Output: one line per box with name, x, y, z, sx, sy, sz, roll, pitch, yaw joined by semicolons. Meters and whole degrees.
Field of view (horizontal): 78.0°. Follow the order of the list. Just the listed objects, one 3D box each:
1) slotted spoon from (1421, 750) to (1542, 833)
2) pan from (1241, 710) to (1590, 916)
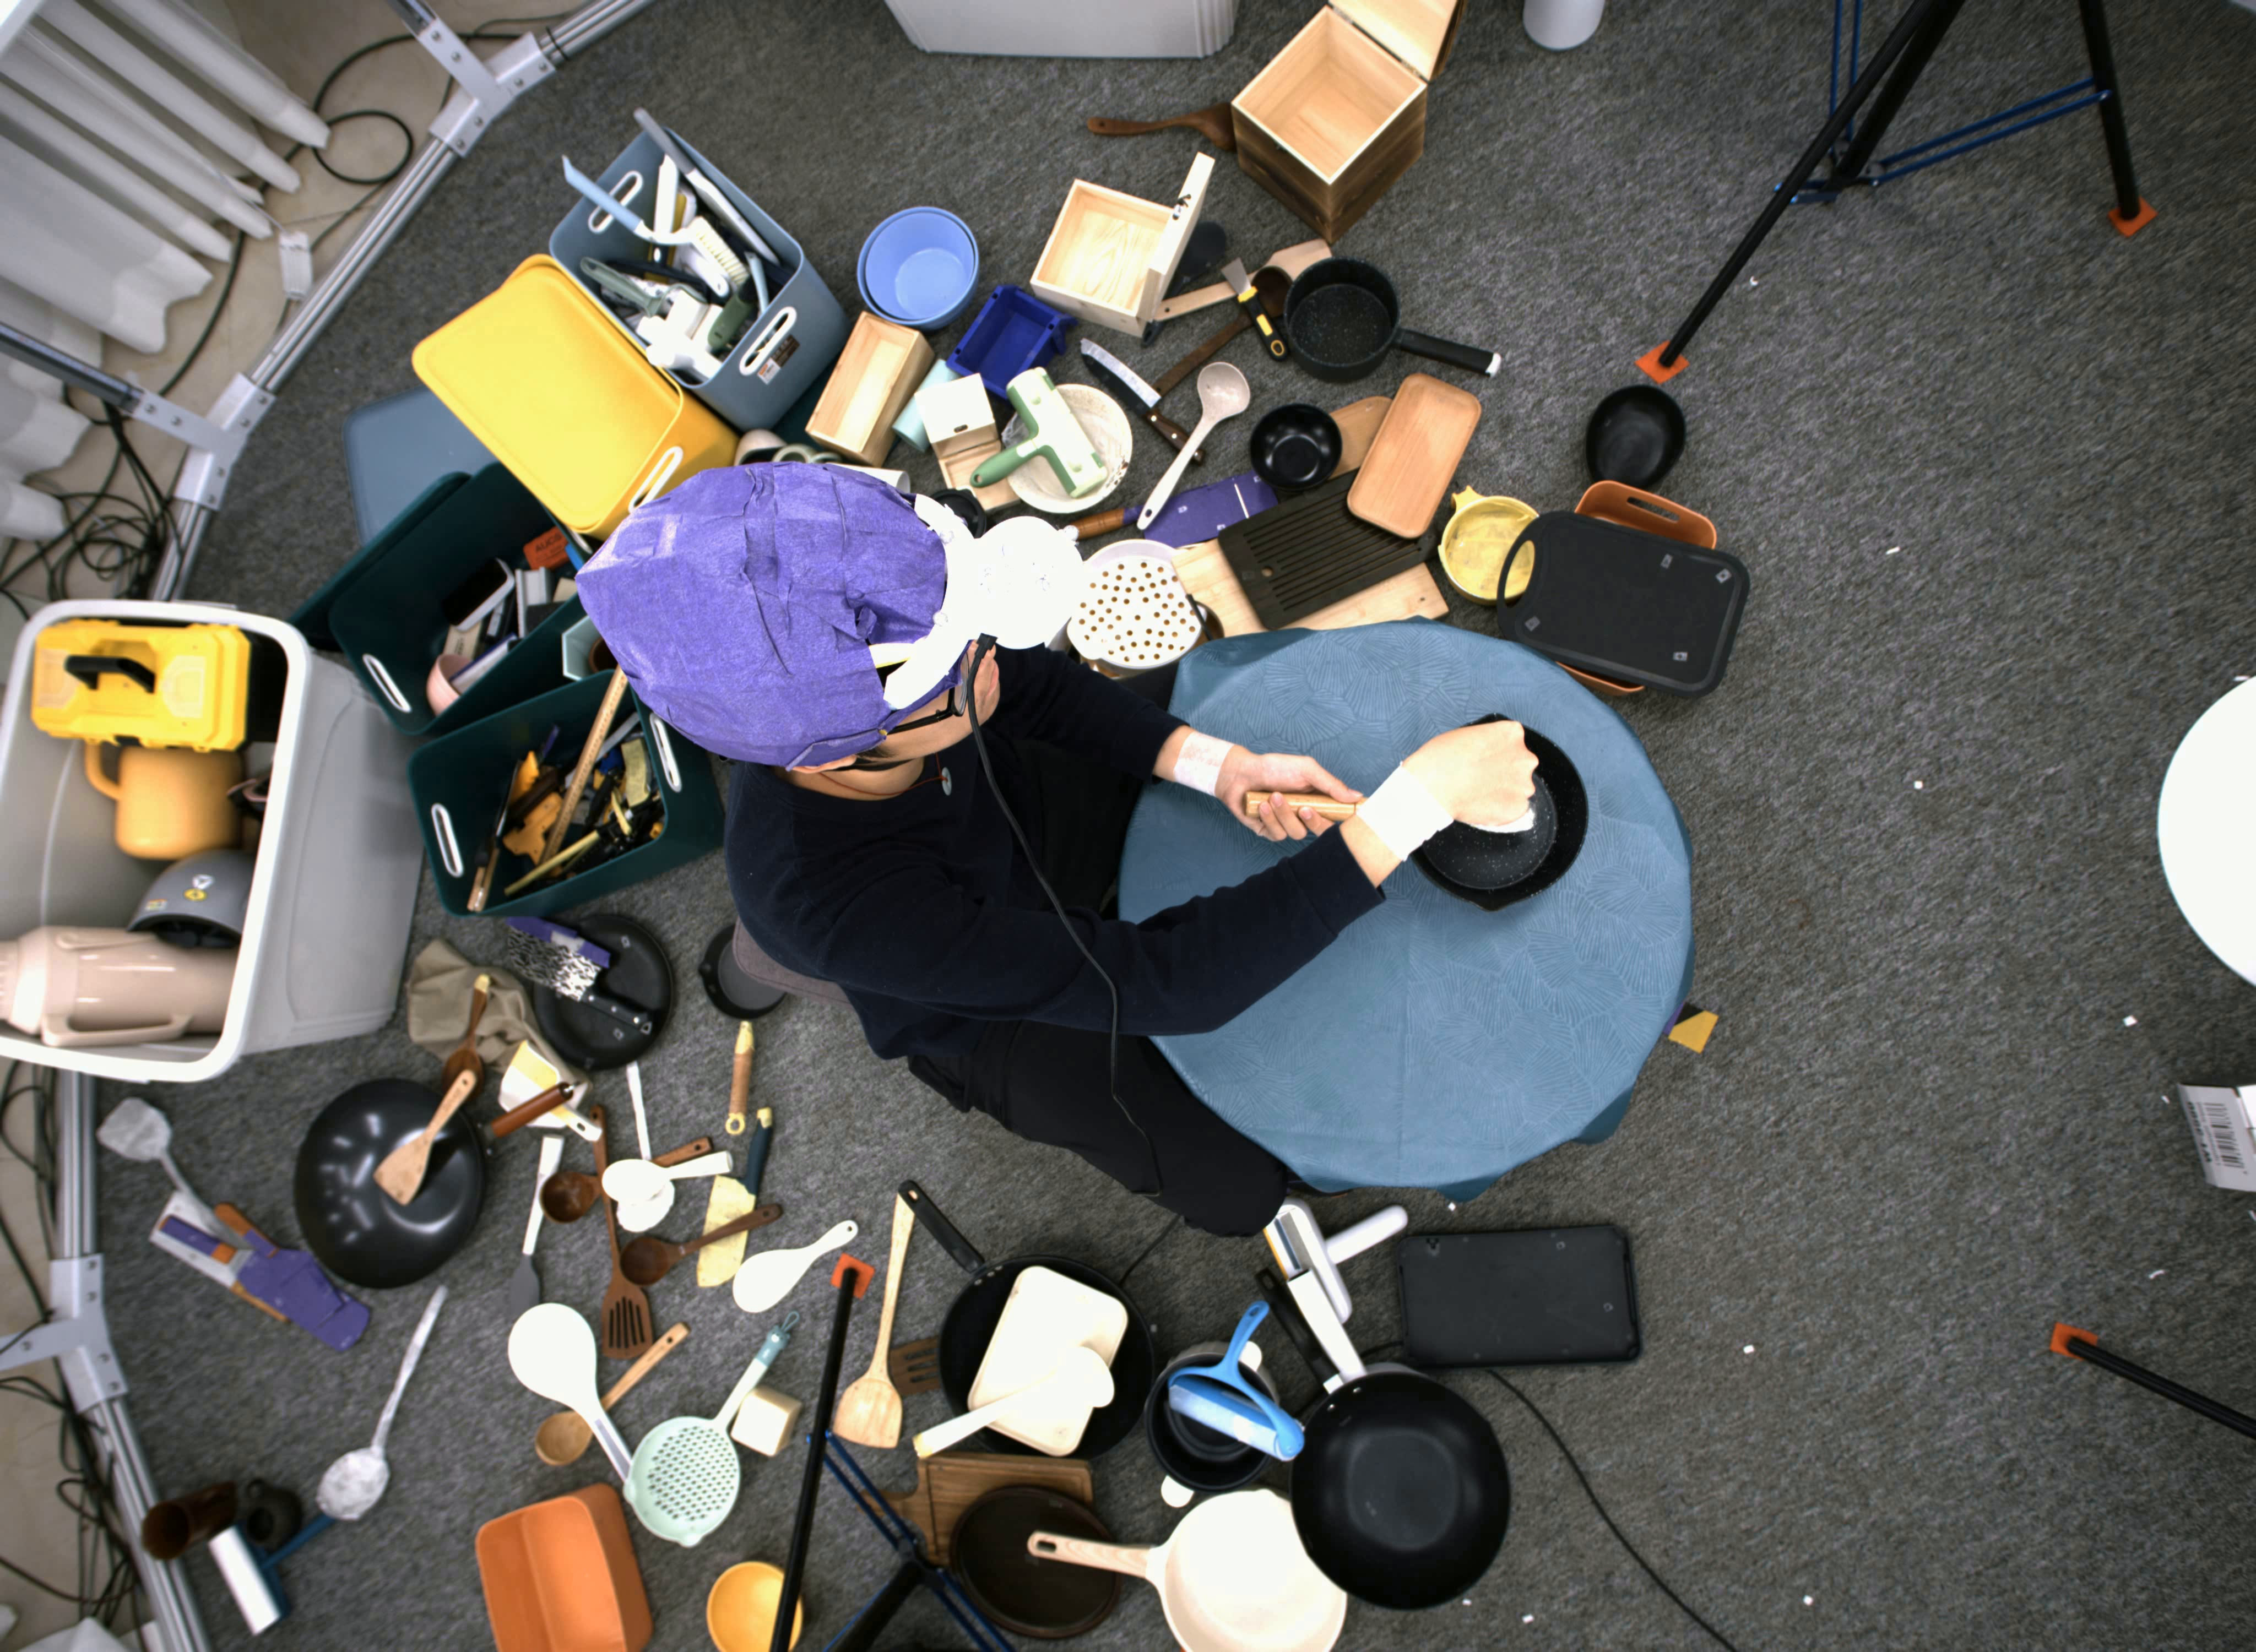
slotted spoon;0.322;-0.037;1.254;0.136;0.349;0.050;33;89;11
pan;0.289;-0.013;1.406;0.344;0.108;0.207;1;87;9
